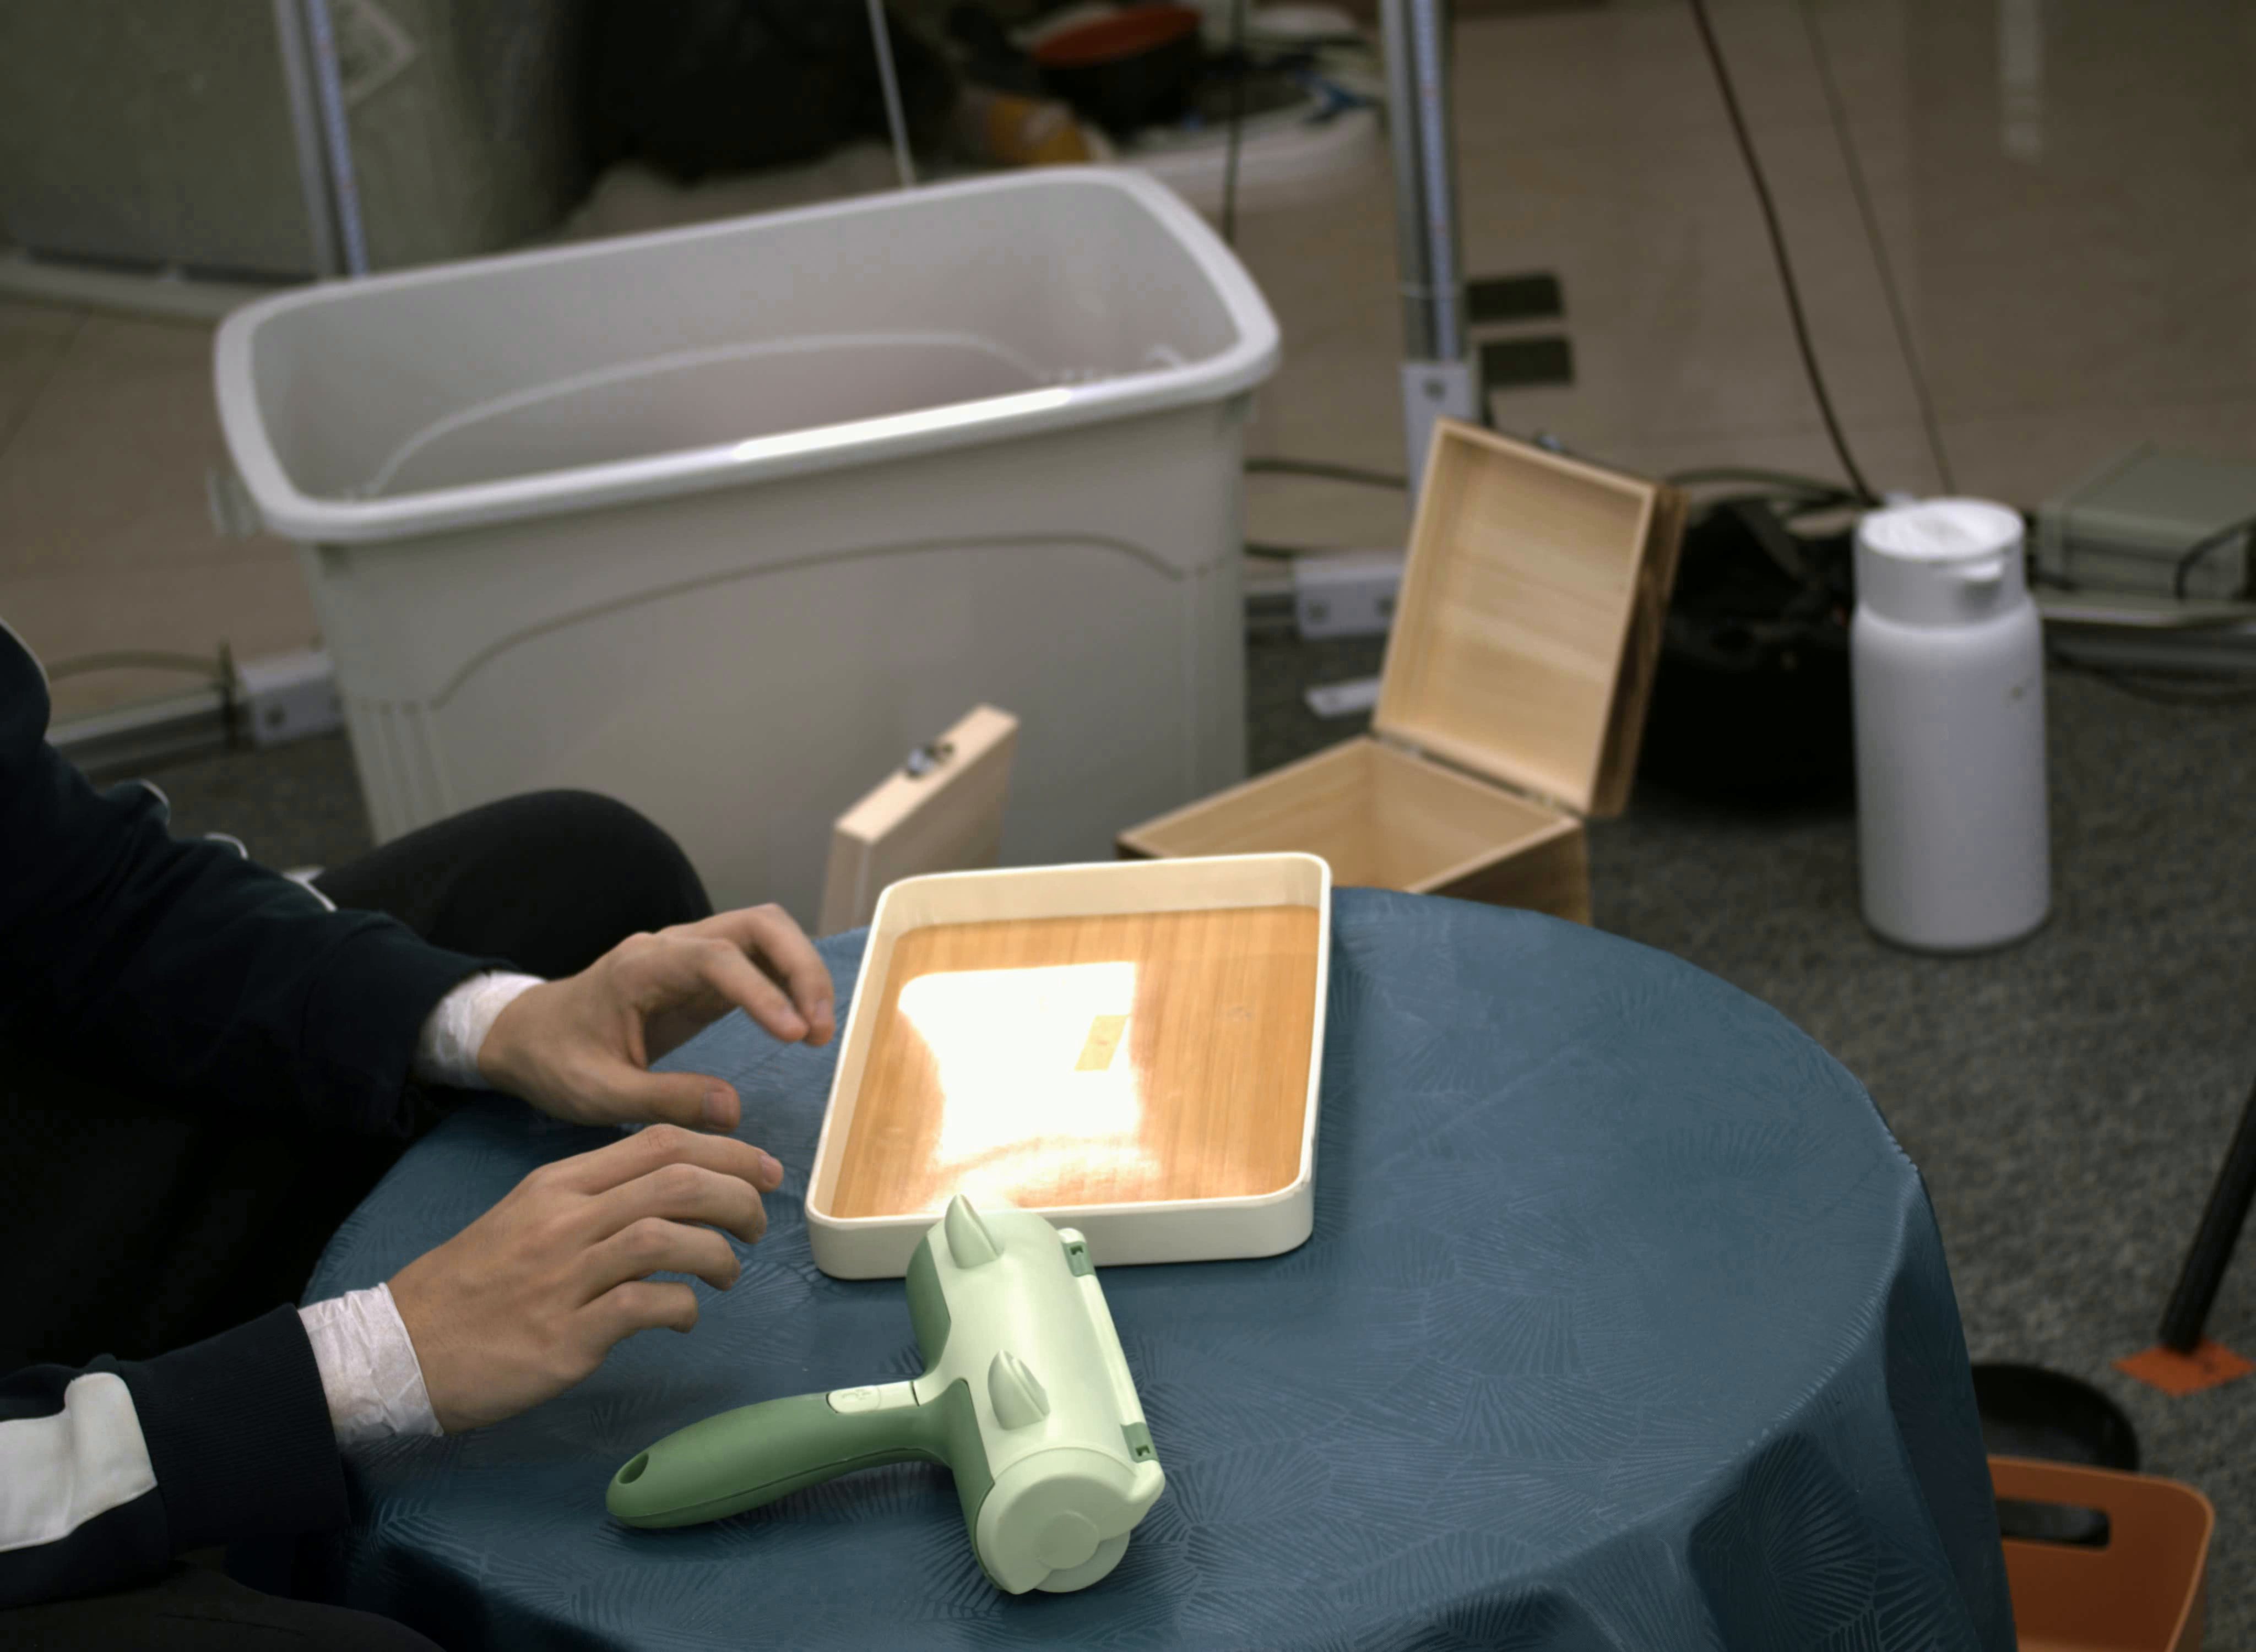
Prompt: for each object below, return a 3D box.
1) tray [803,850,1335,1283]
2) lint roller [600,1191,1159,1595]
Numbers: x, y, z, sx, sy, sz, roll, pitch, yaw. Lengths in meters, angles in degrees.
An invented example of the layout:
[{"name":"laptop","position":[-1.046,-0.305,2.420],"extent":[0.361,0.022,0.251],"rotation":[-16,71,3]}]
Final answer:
[{"name":"tray","position":[-0.018,0.090,2.221],"extent":[0.191,0.028,0.296],"rotation":[-4,25,6]},{"name":"lint roller","position":[-0.093,0.194,1.957],"extent":[0.183,0.083,0.196],"rotation":[-5,25,-7]}]
